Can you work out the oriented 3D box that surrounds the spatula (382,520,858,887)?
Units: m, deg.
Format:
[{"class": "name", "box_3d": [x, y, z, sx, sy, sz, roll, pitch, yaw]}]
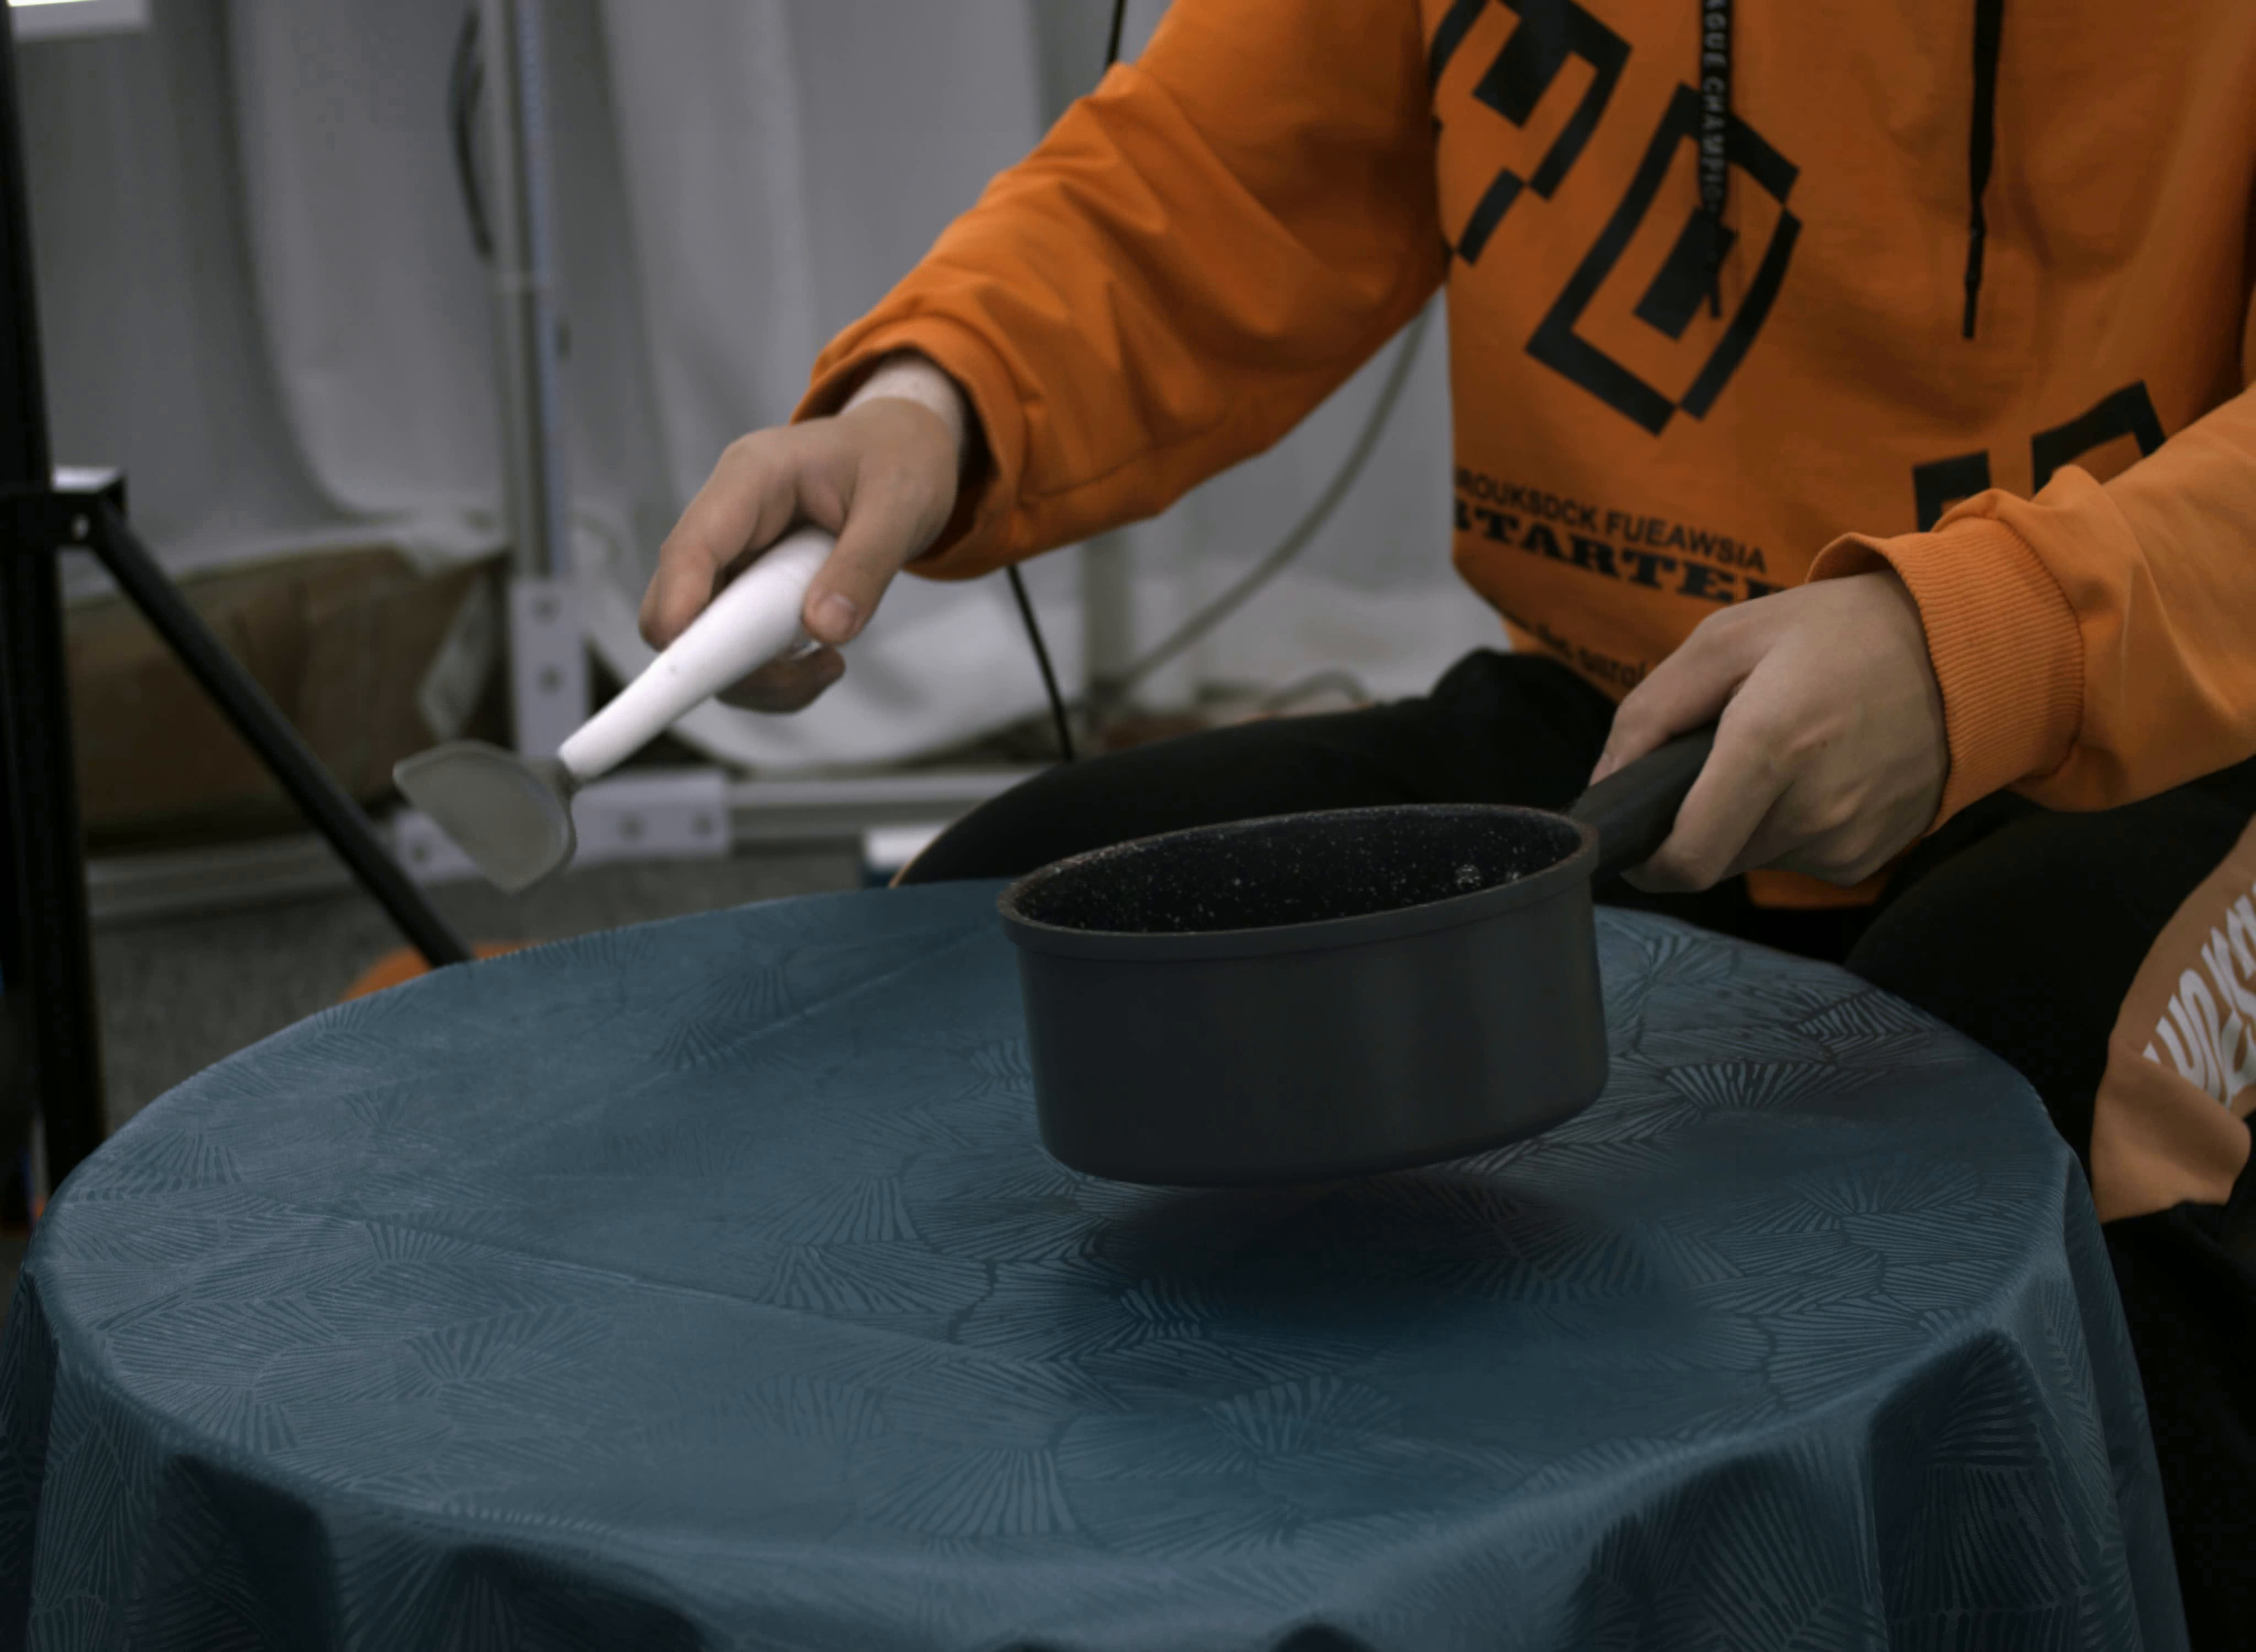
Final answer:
[{"class": "spatula", "box_3d": [-0.153, -0.040, 1.665, 0.032, 0.059, 0.284, -42, 1, 29]}]

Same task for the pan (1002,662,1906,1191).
[{"class": "pan", "box_3d": [0.111, 0.028, 1.545, 0.321, 0.086, 0.176, -17, 15, -38]}]
